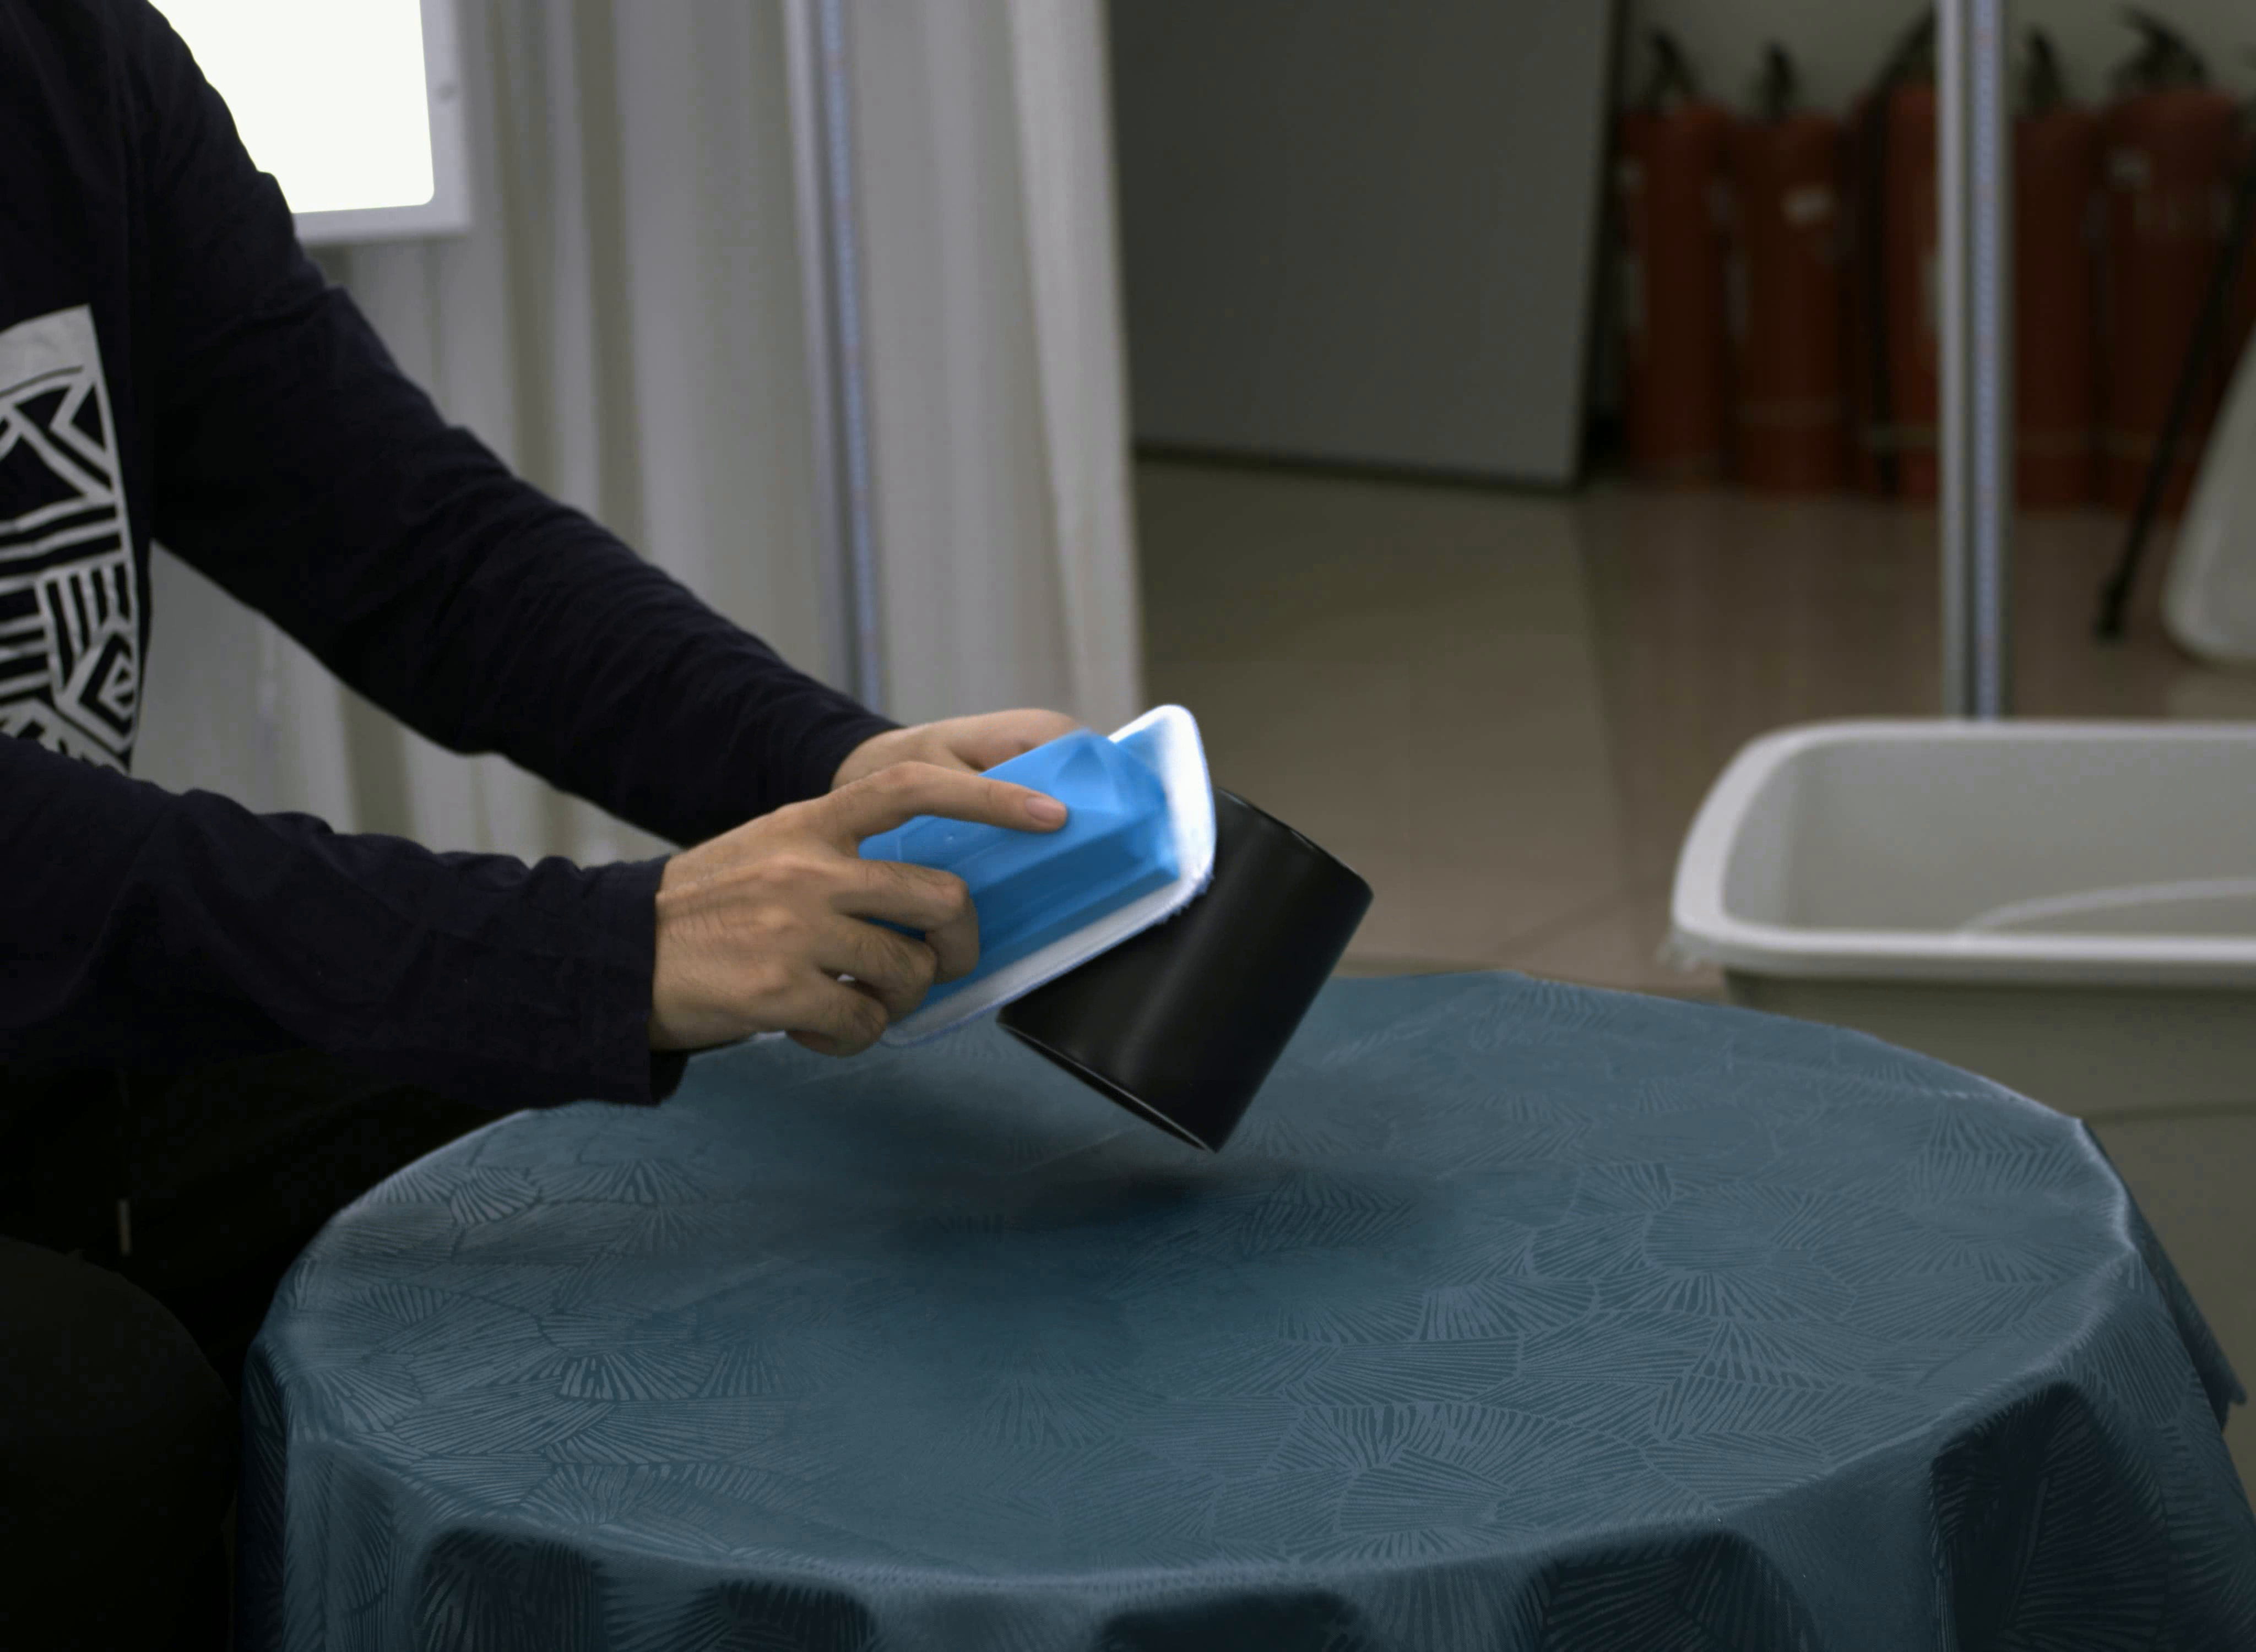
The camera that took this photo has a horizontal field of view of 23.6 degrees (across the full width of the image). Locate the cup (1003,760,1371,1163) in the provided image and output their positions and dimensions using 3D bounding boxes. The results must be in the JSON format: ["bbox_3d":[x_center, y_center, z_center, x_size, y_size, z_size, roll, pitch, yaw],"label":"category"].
[{"bbox_3d":[0.007,0.039,1.785,0.125,0.106,0.087,23,-7,38],"label":"cup"}]

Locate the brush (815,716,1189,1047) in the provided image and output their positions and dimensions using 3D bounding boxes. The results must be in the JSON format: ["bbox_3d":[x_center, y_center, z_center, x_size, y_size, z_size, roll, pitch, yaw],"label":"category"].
[{"bbox_3d":[-0.049,0.011,1.749,0.144,0.085,0.055,-23,-40,24],"label":"brush"}]
